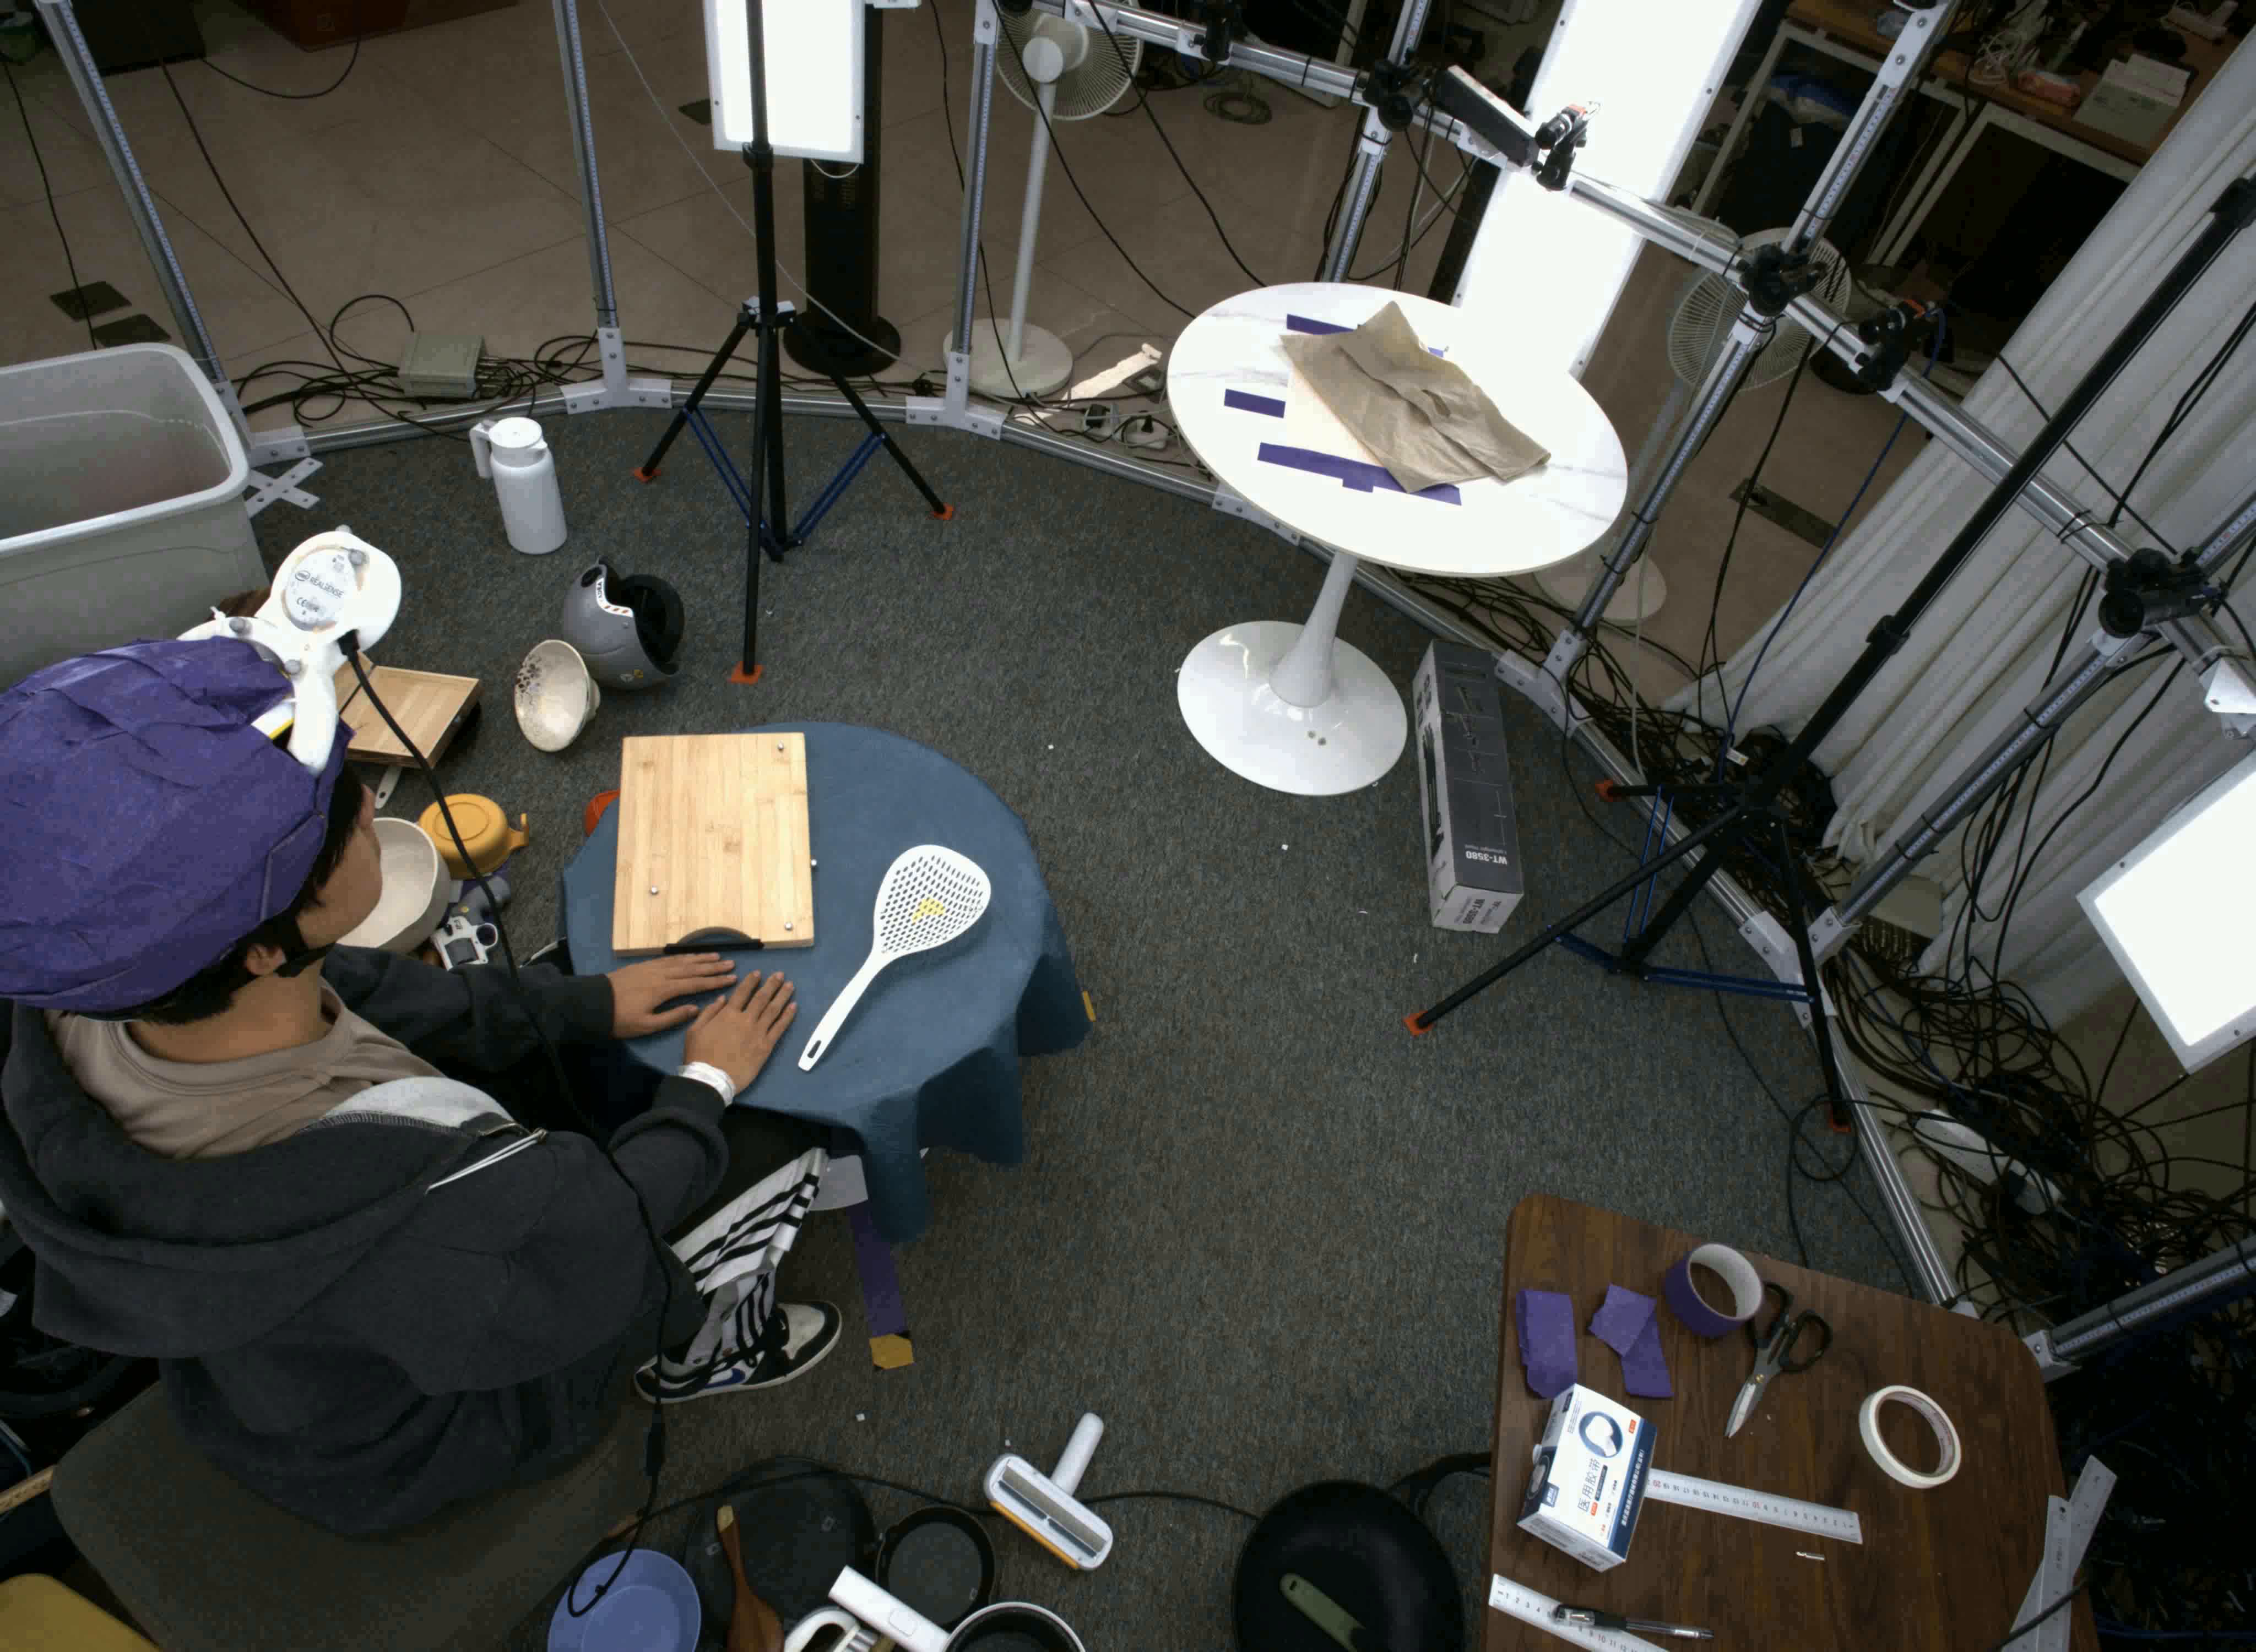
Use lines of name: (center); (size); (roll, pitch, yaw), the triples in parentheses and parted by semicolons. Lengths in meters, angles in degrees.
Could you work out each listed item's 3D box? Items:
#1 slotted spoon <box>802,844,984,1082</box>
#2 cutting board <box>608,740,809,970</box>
slotted spoon: (-0.306, 0.164, 1.610); (0.135, 0.051, 0.346); (29, 52, 6)
cutting board: (-0.543, 0.025, 1.670); (0.251, 0.024, 0.341); (-4, 55, -16)
